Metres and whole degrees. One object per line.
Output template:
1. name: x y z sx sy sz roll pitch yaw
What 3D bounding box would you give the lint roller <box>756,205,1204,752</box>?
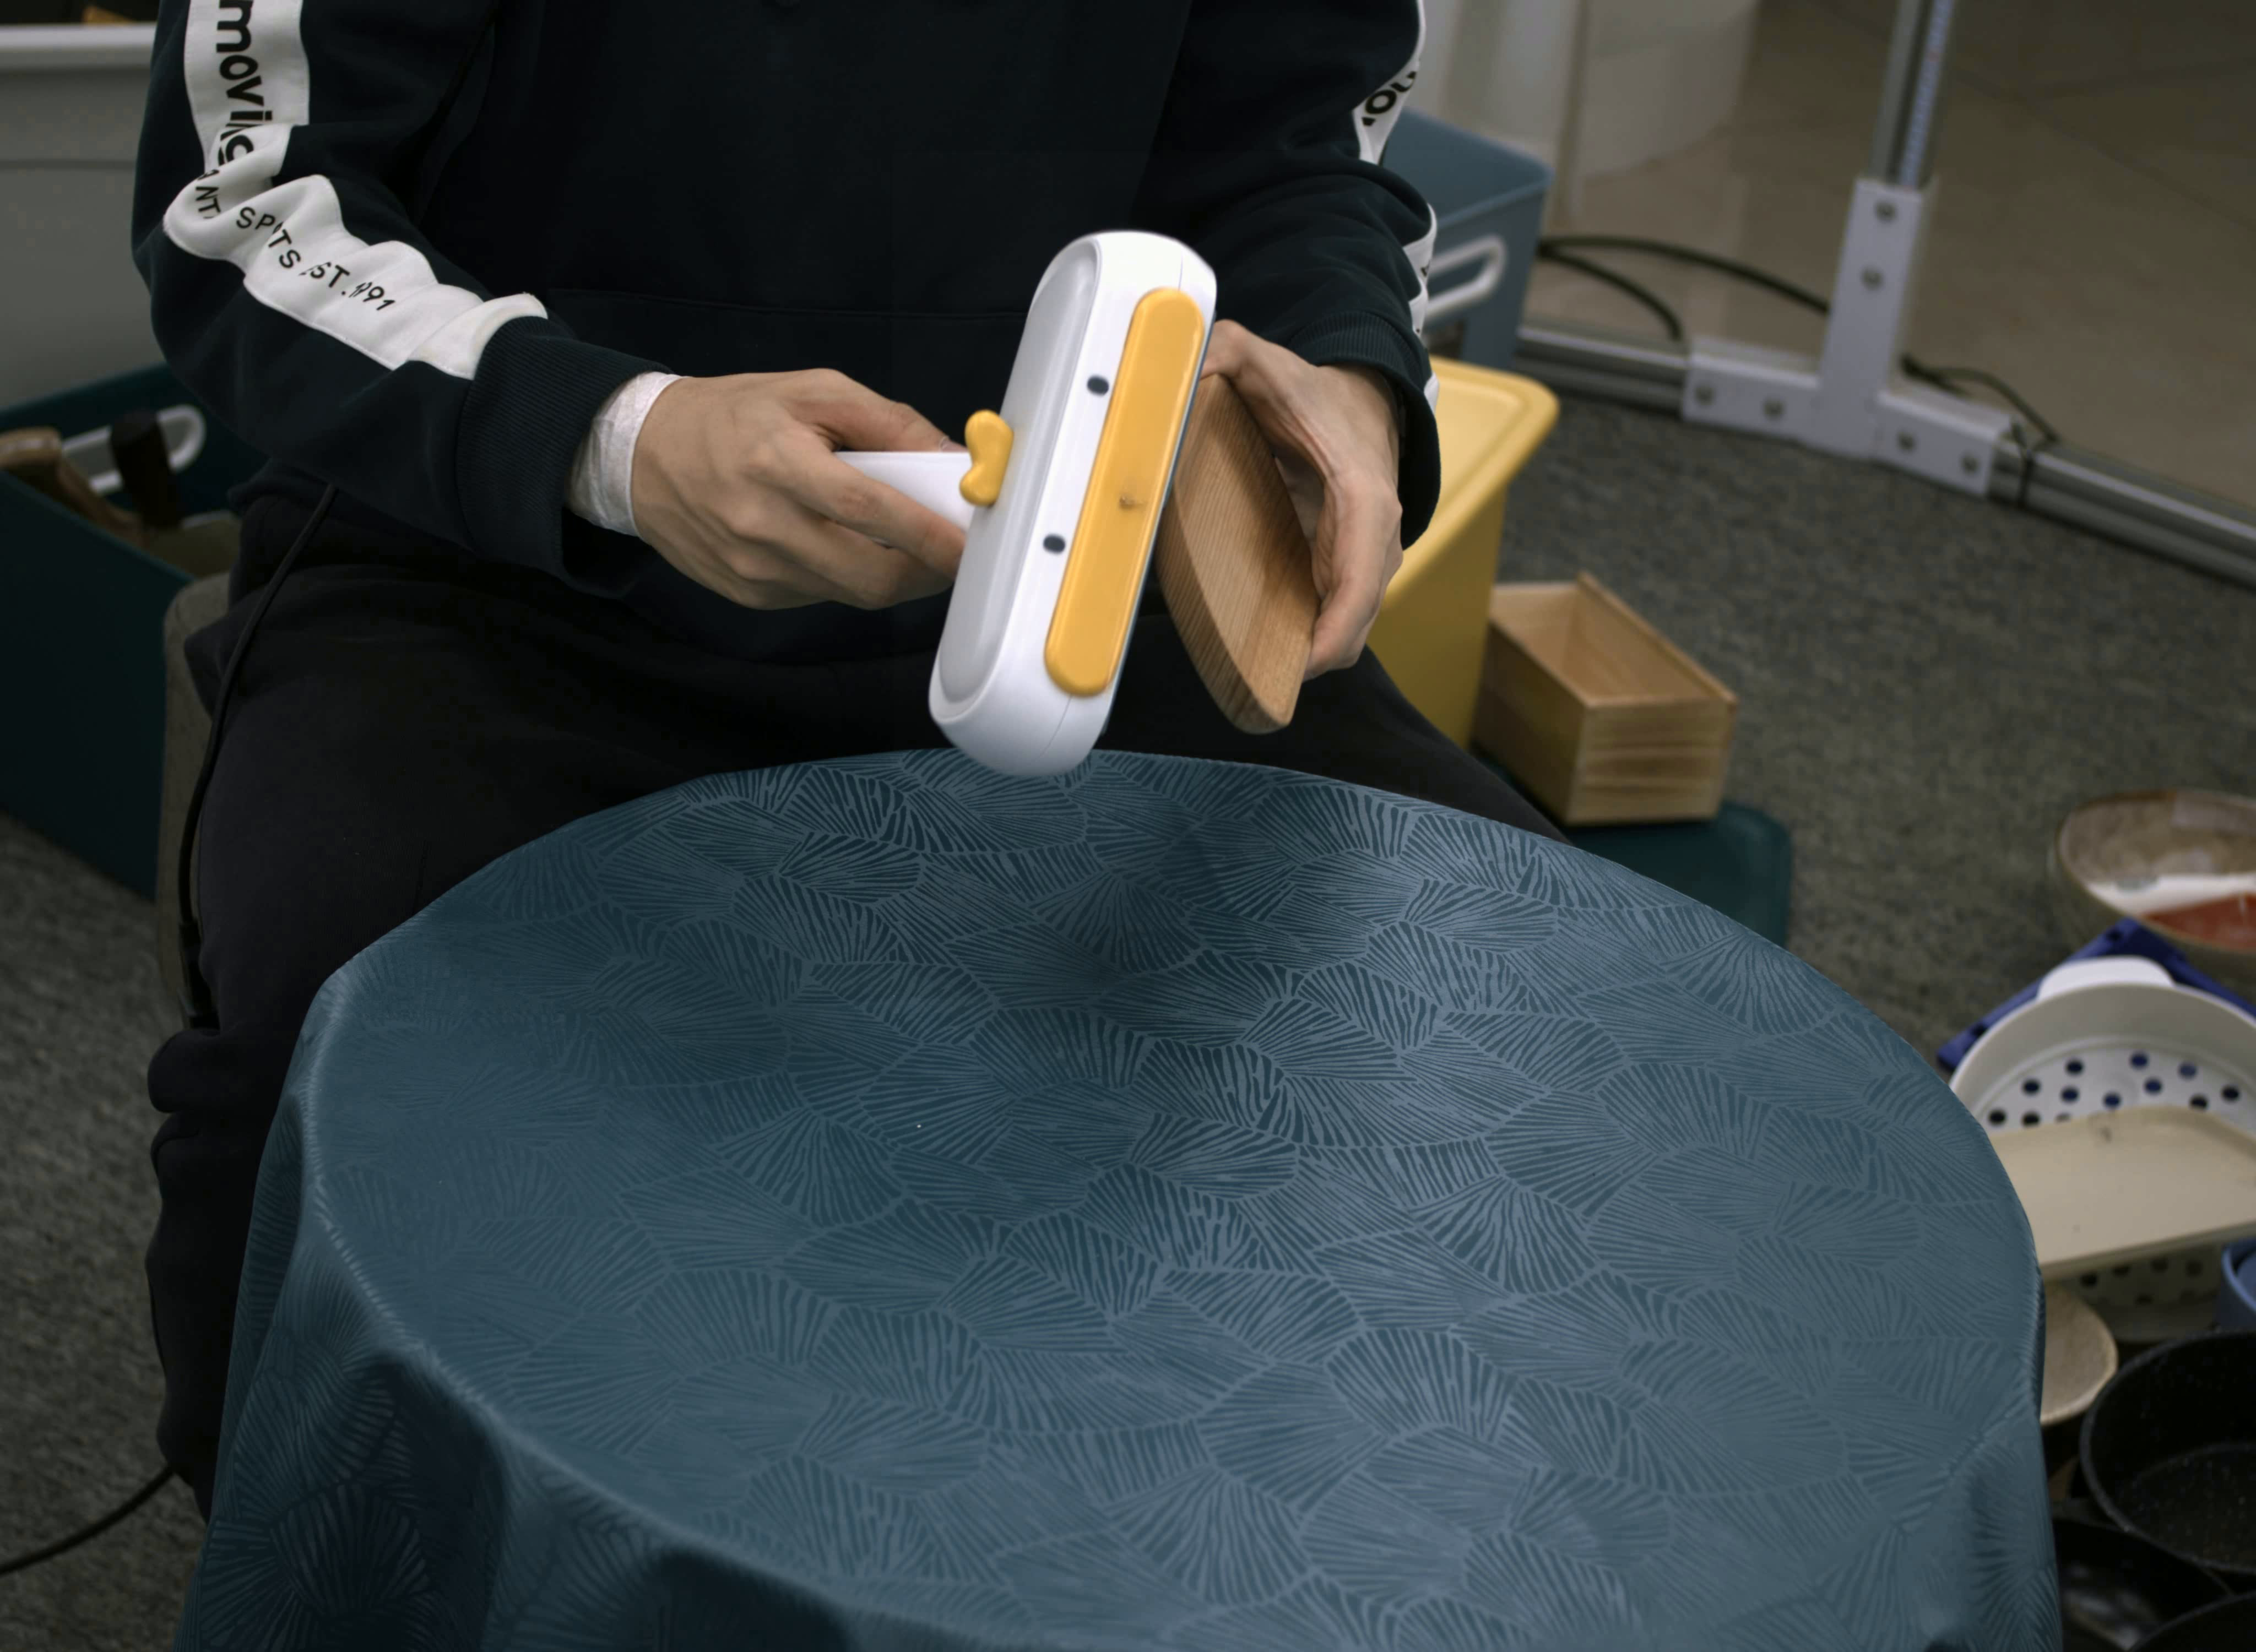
1. lint roller: -0.057 -0.114 1.856 0.073 0.194 0.193 18 -17 -32

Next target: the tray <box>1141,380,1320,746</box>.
1. tray: 0.037 -0.095 1.906 0.020 0.101 0.232 -24 14 14
